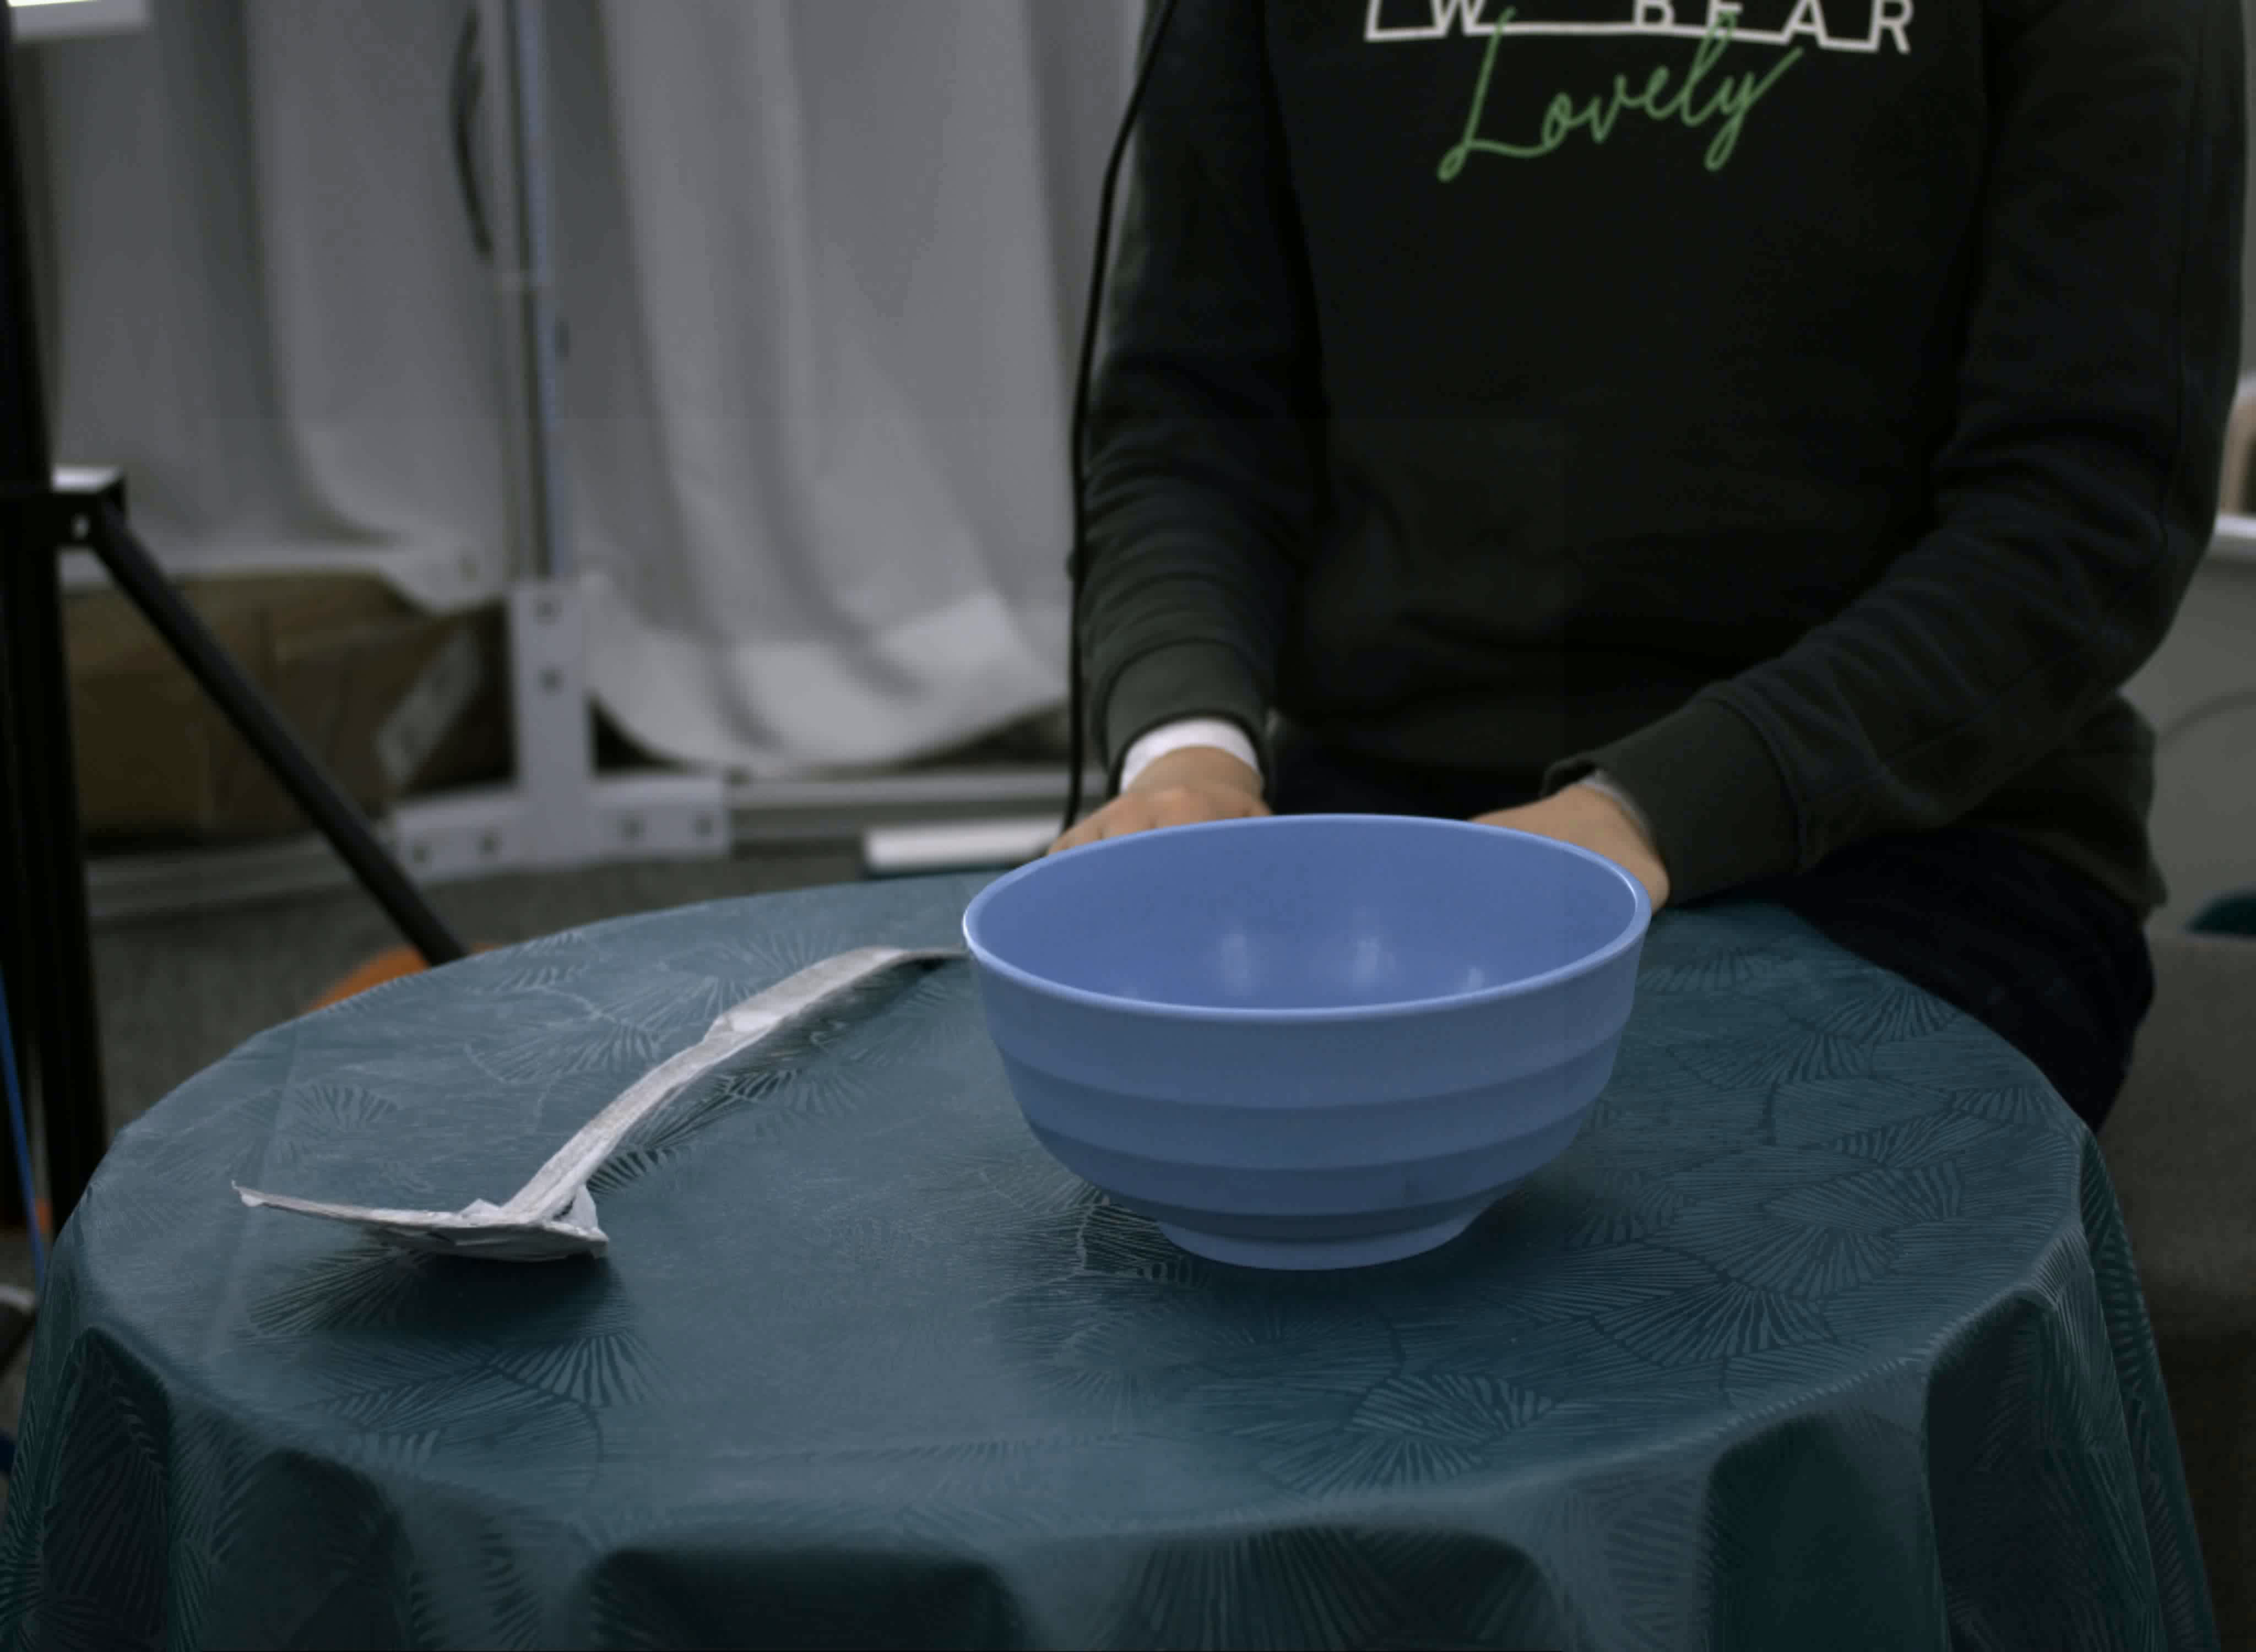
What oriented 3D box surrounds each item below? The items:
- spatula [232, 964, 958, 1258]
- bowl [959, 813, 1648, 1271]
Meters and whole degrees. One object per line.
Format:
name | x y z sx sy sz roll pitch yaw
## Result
spatula | -0.140 0.077 1.621 0.100 0.045 0.359 3 17 24
bowl | 0.052 0.067 1.518 0.195 0.095 0.197 -4 16 0
